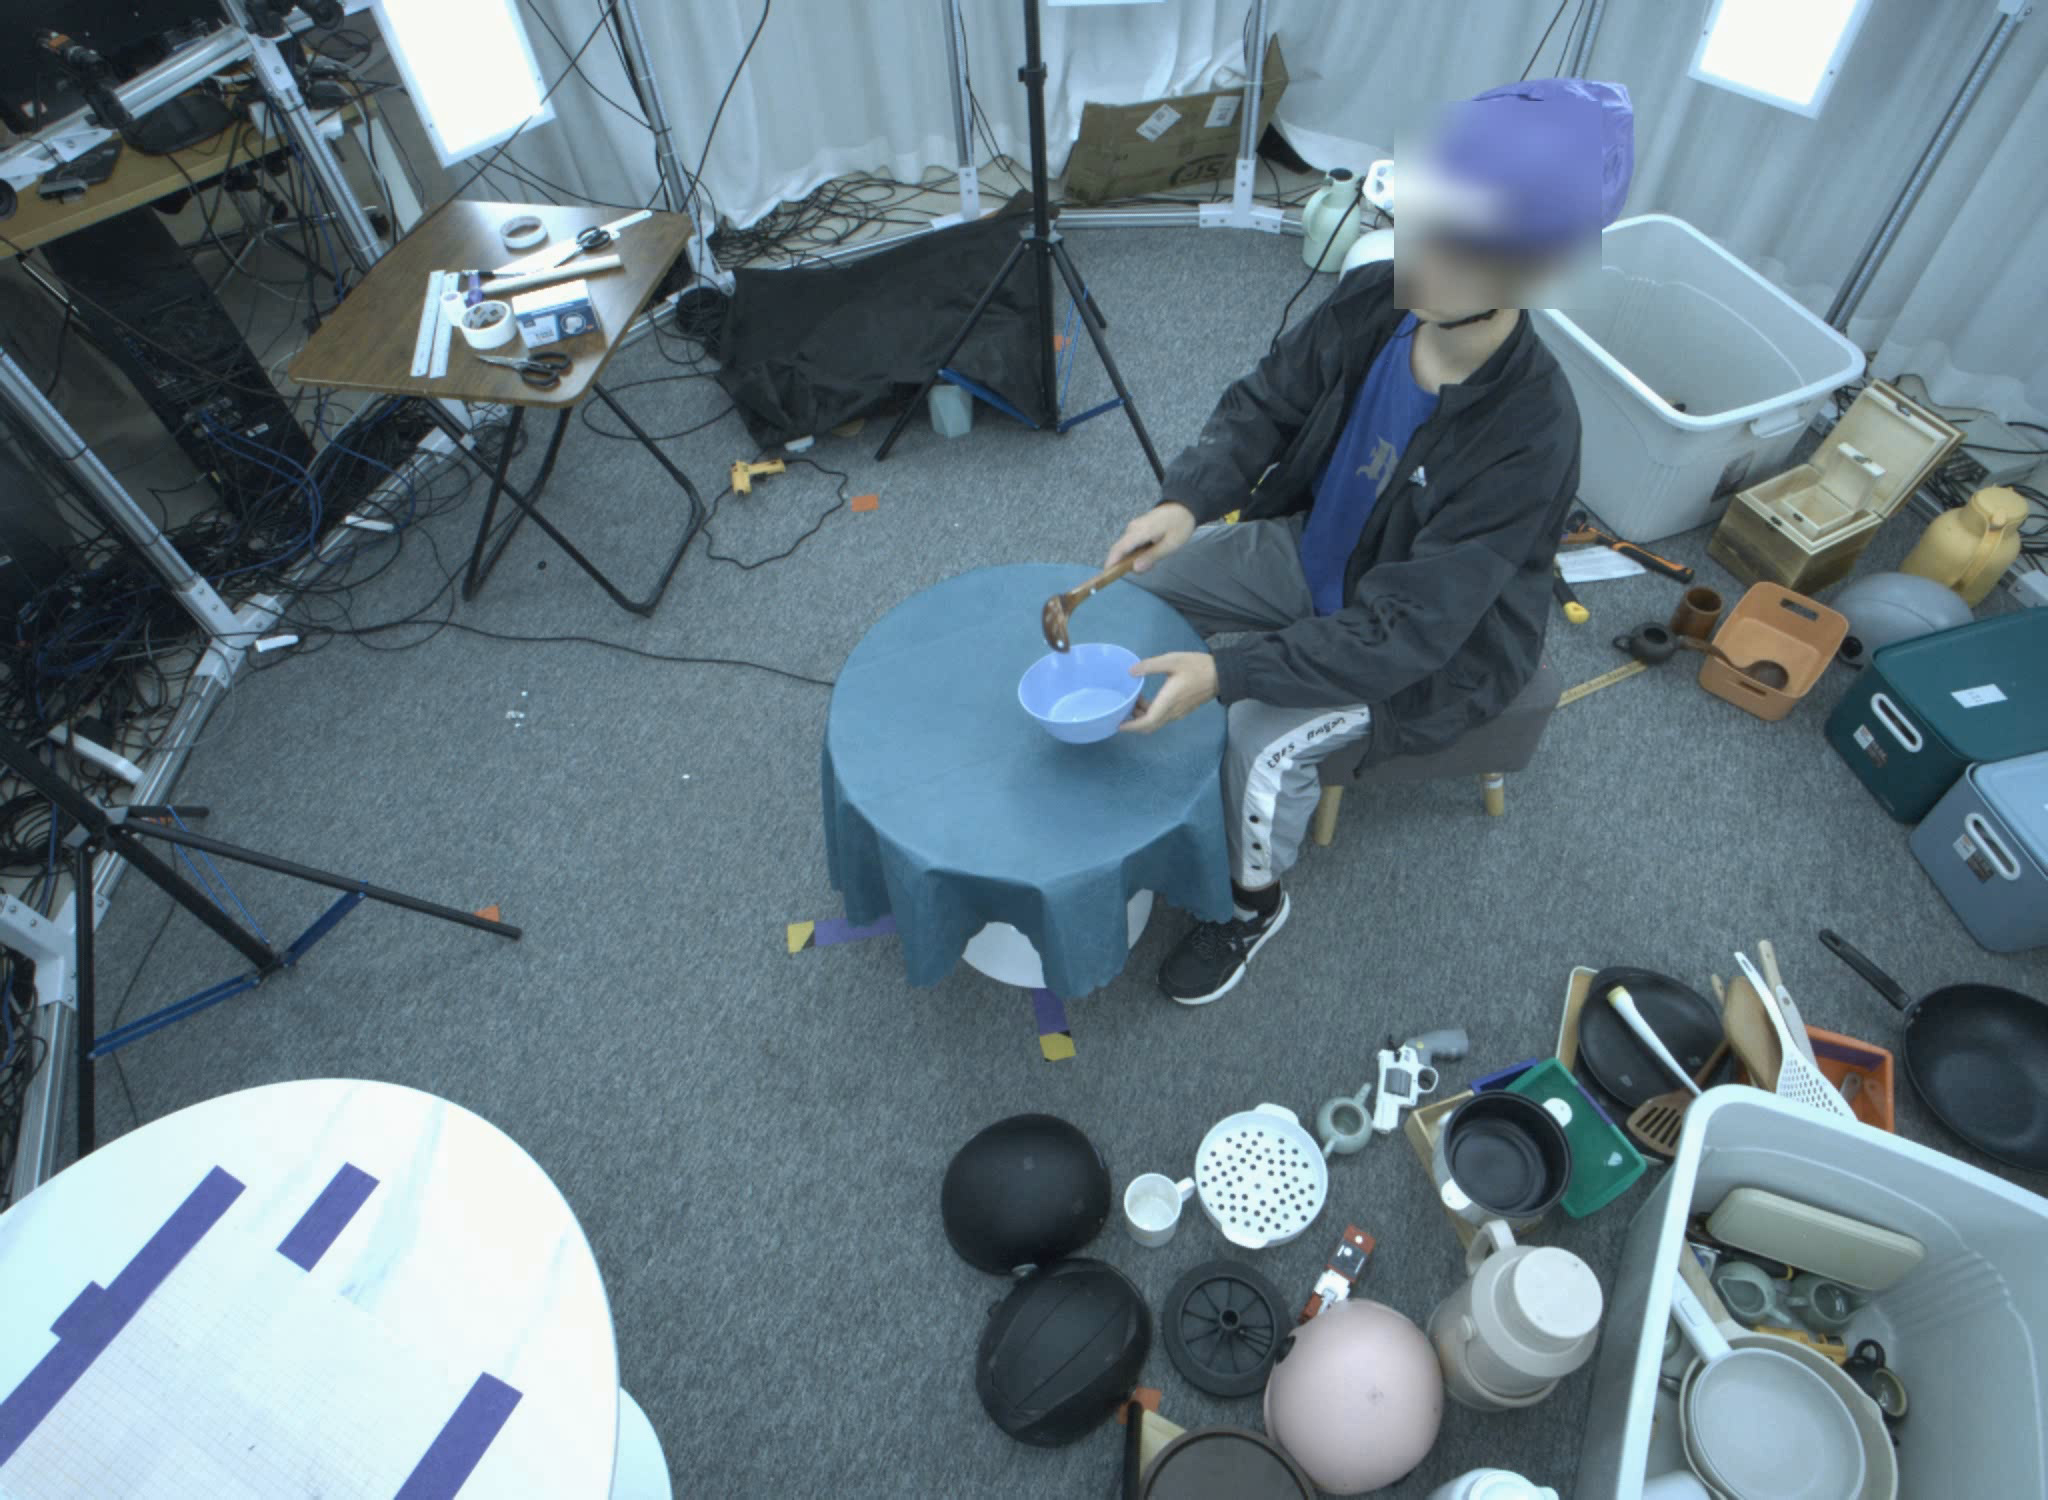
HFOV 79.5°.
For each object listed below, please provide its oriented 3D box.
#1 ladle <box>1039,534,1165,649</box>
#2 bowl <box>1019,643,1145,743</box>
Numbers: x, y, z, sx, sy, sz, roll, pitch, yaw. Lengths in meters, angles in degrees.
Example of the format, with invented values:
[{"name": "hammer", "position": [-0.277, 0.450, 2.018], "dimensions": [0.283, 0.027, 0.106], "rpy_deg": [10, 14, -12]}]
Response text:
[{"name": "ladle", "position": [0.122, -0.230, 1.709], "dimensions": [0.277, 0.083, 0.075], "rpy_deg": [-33, 51, -28]}, {"name": "bowl", "position": [0.085, -0.071, 1.707], "dimensions": [0.175, 0.071, 0.174], "rpy_deg": [-7, 40, 7]}]
